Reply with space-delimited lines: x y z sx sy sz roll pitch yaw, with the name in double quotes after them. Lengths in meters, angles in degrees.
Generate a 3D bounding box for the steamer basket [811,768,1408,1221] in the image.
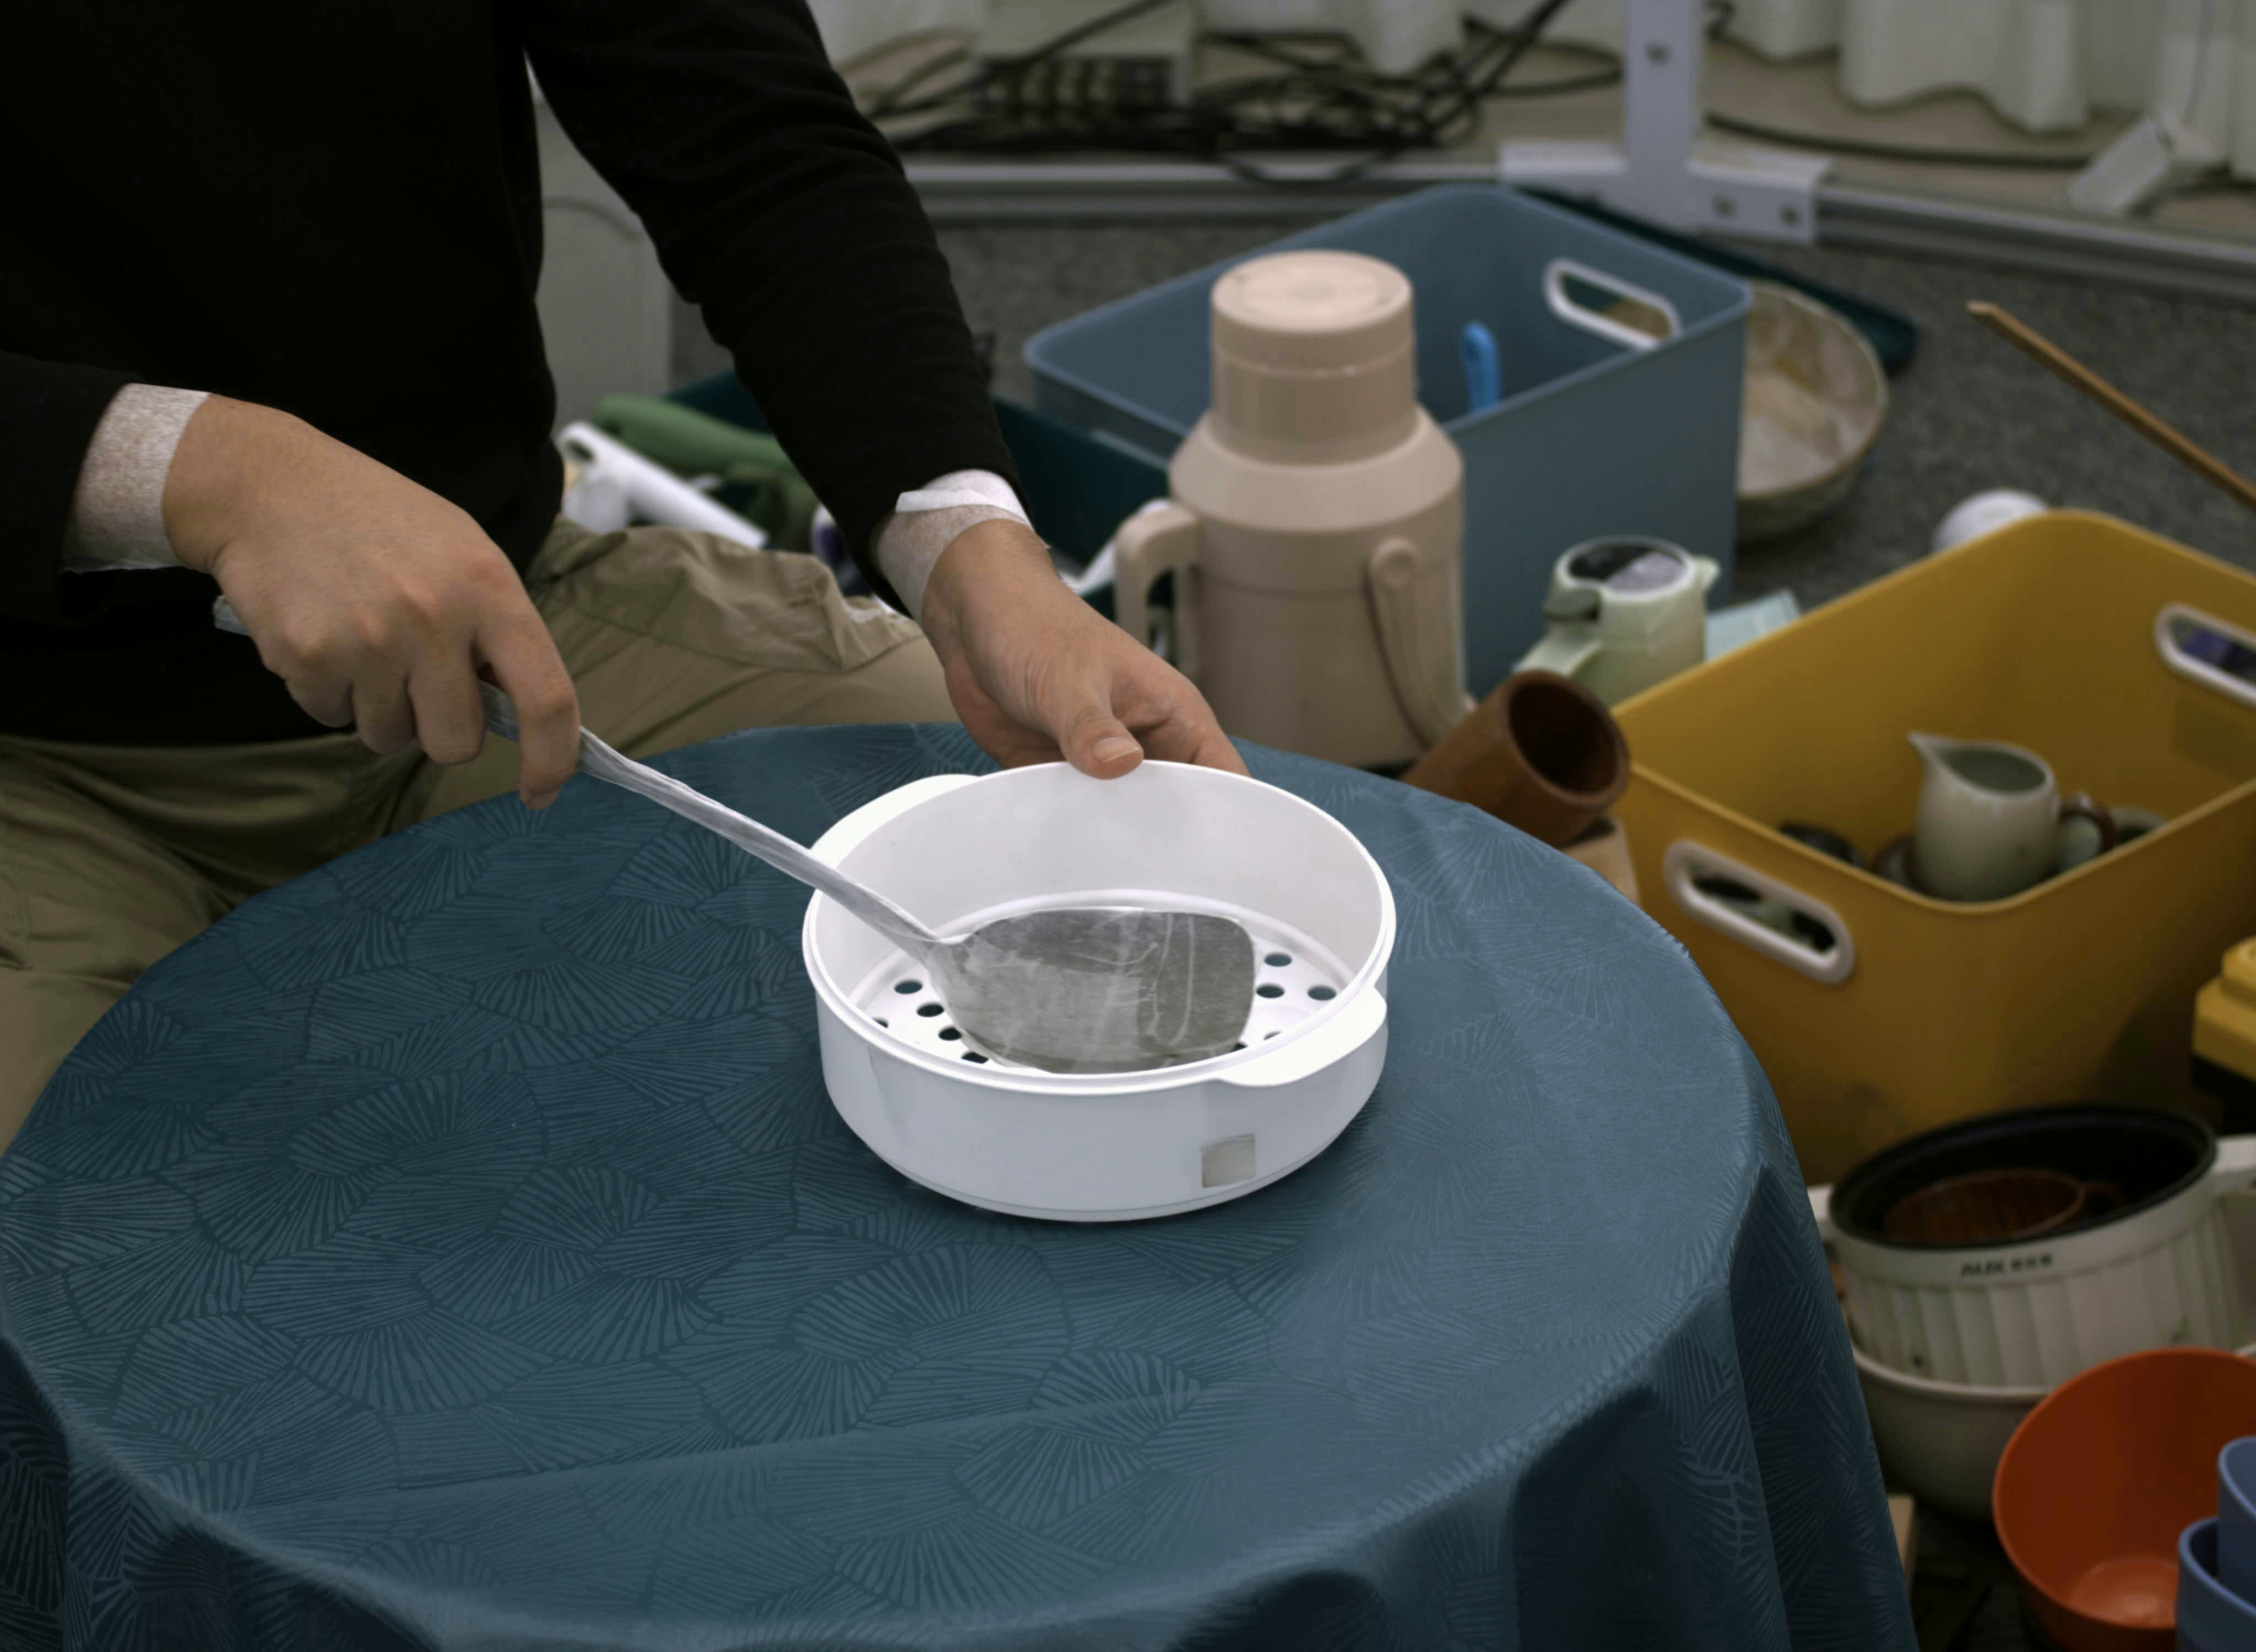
-0.005 0.058 1.902 0.204 0.068 0.230 -26 38 -36 "steamer basket"

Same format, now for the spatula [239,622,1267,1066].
-0.126 0.000 1.873 0.364 0.097 0.045 26 50 7 "spatula"
